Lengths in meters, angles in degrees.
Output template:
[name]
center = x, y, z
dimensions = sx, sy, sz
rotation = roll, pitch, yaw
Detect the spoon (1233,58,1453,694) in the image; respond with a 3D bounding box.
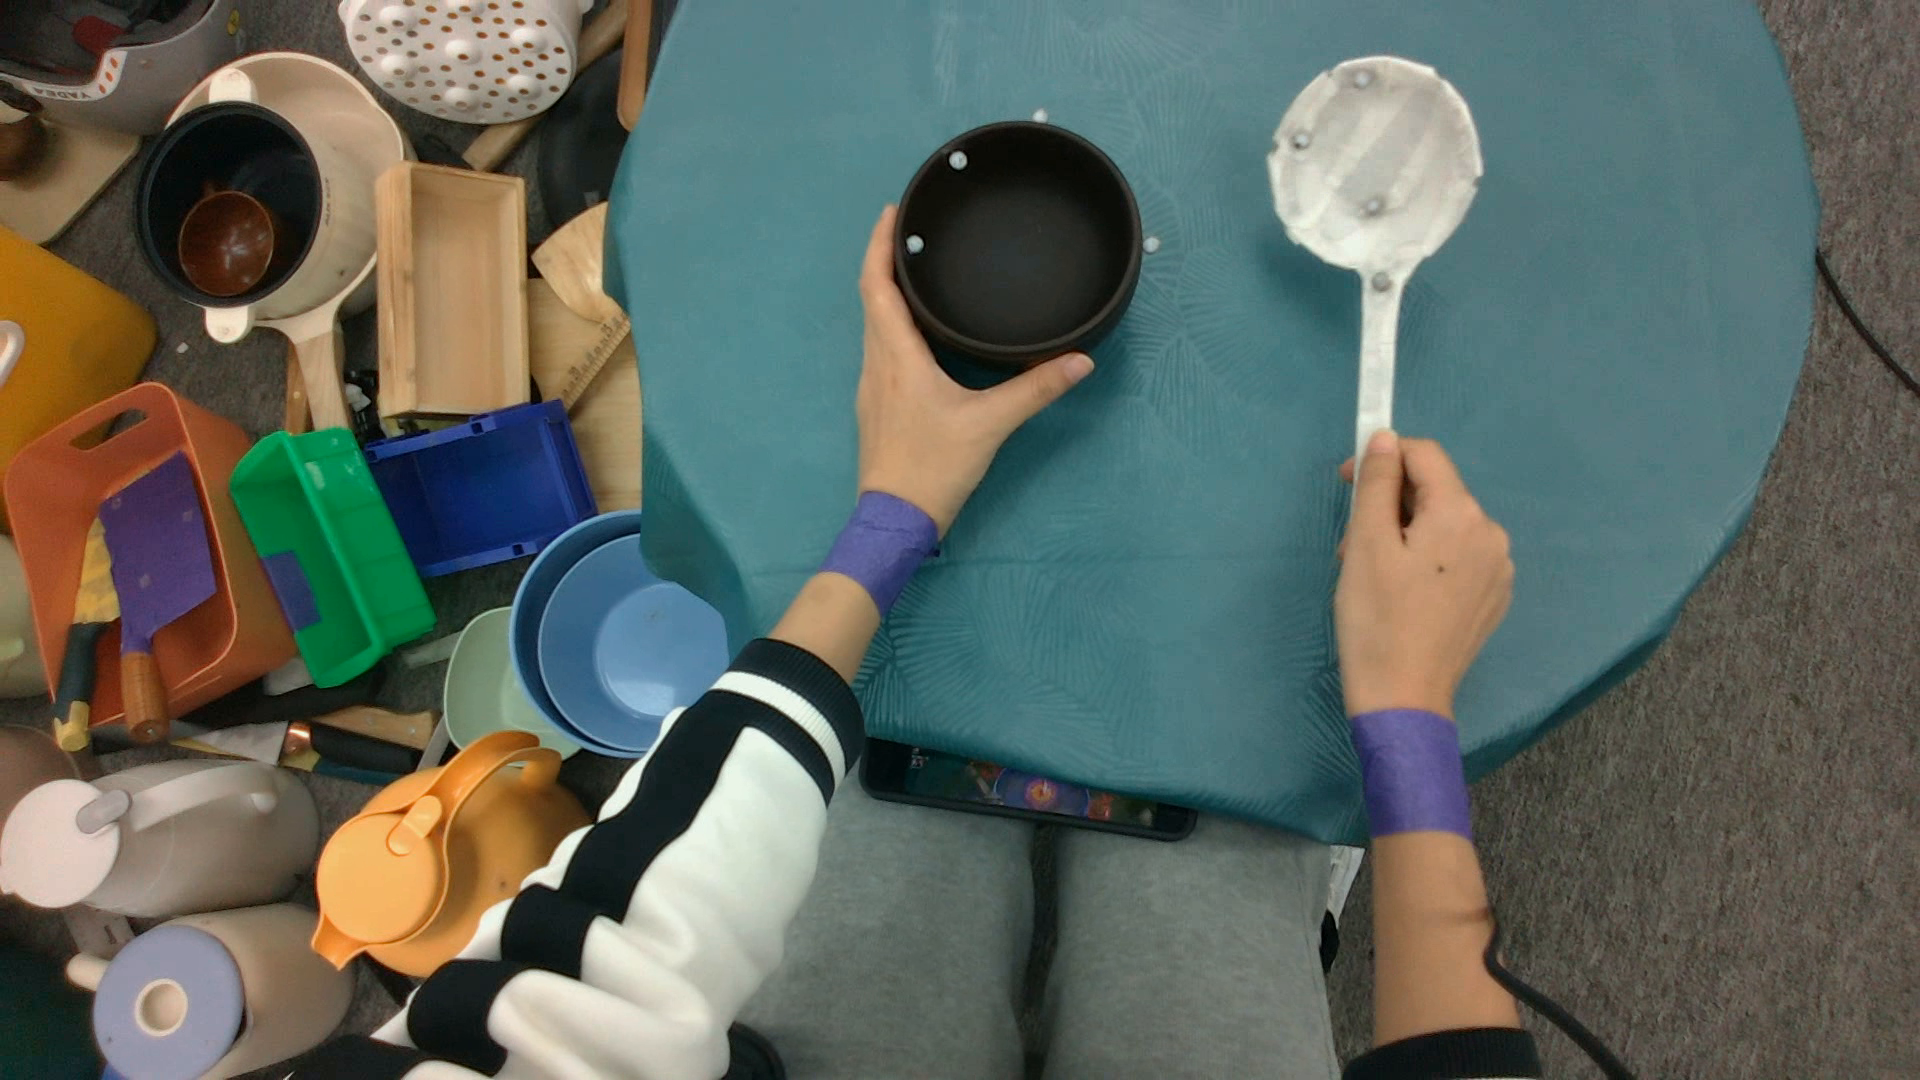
[spoon]
center = 0.163, -0.073, 0.615
dimensions = 0.100, 0.059, 0.278
rotation = 1, 80, 37

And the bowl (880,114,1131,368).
[bowl]
center = 0.023, -0.138, 0.667
dimensions = 0.118, 0.070, 0.118
rotation = -1, 79, 4
